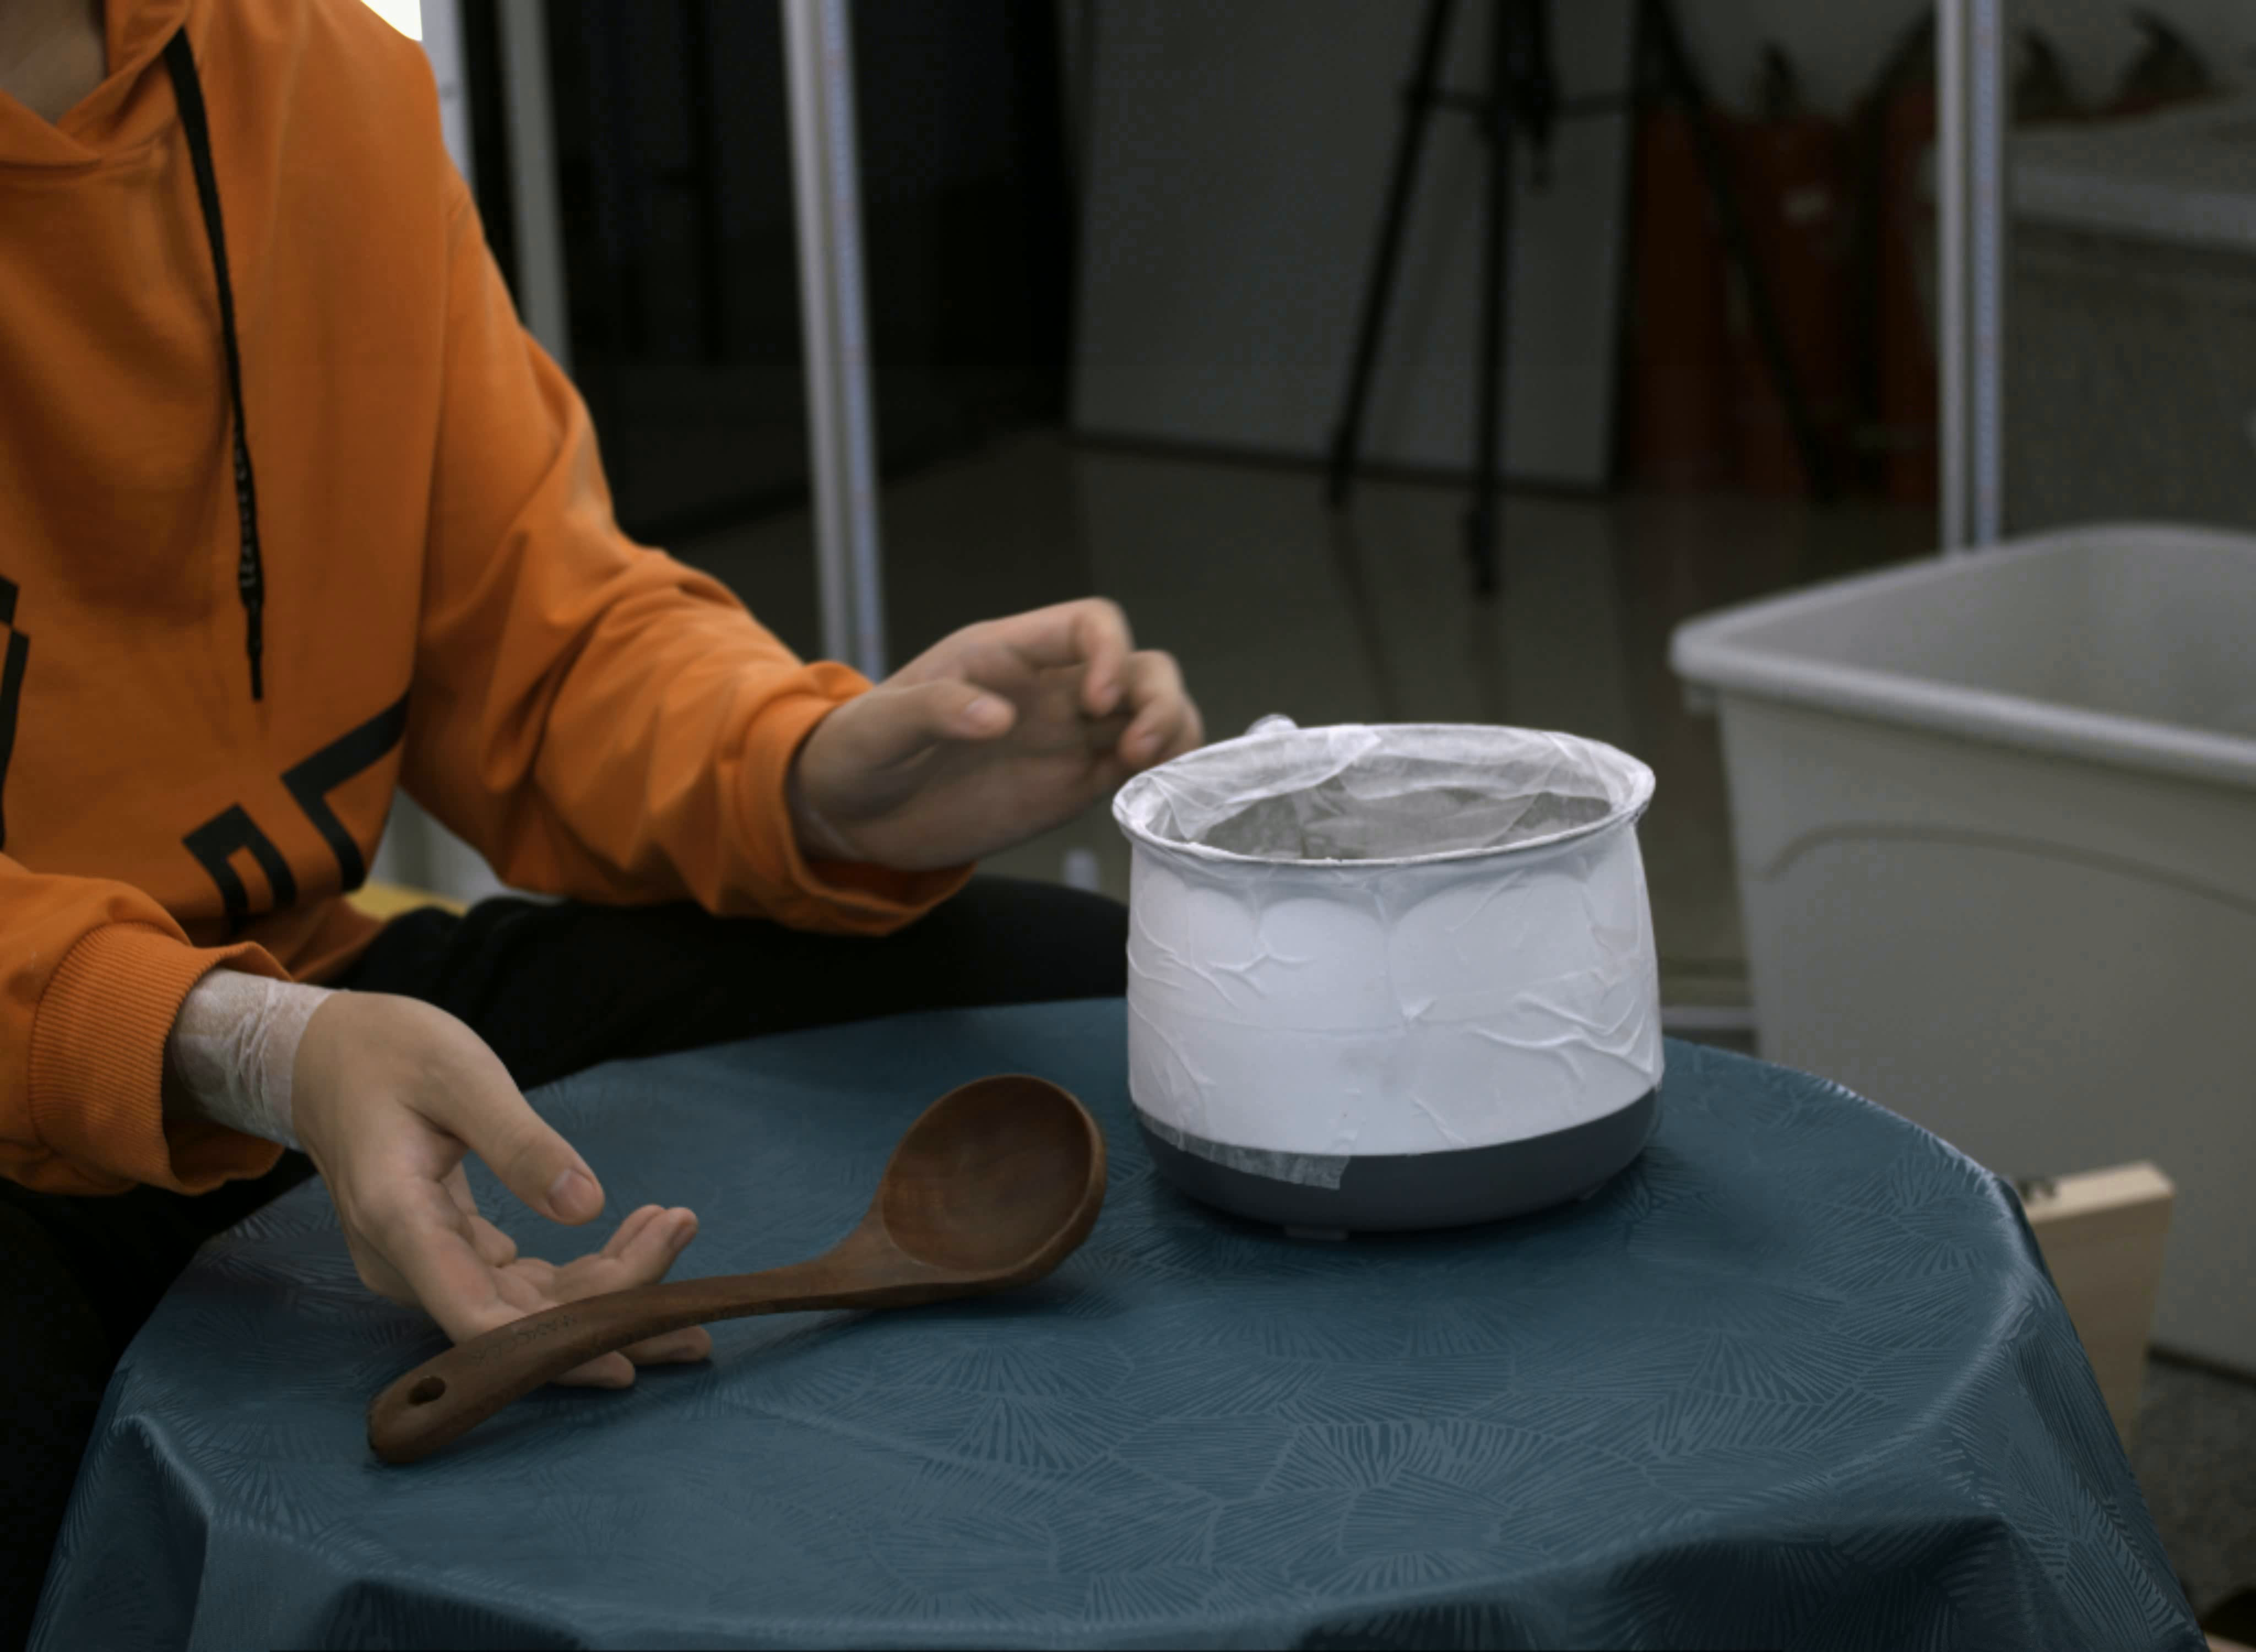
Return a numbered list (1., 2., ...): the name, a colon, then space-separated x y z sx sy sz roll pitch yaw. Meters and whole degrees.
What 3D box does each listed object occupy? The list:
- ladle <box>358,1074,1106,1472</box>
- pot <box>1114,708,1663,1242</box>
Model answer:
1. ladle: -0.117 0.133 1.627 0.254 0.066 0.077 -13 31 -35
2. pot: 0.076 0.042 1.777 0.175 0.138 0.236 -8 15 -19
